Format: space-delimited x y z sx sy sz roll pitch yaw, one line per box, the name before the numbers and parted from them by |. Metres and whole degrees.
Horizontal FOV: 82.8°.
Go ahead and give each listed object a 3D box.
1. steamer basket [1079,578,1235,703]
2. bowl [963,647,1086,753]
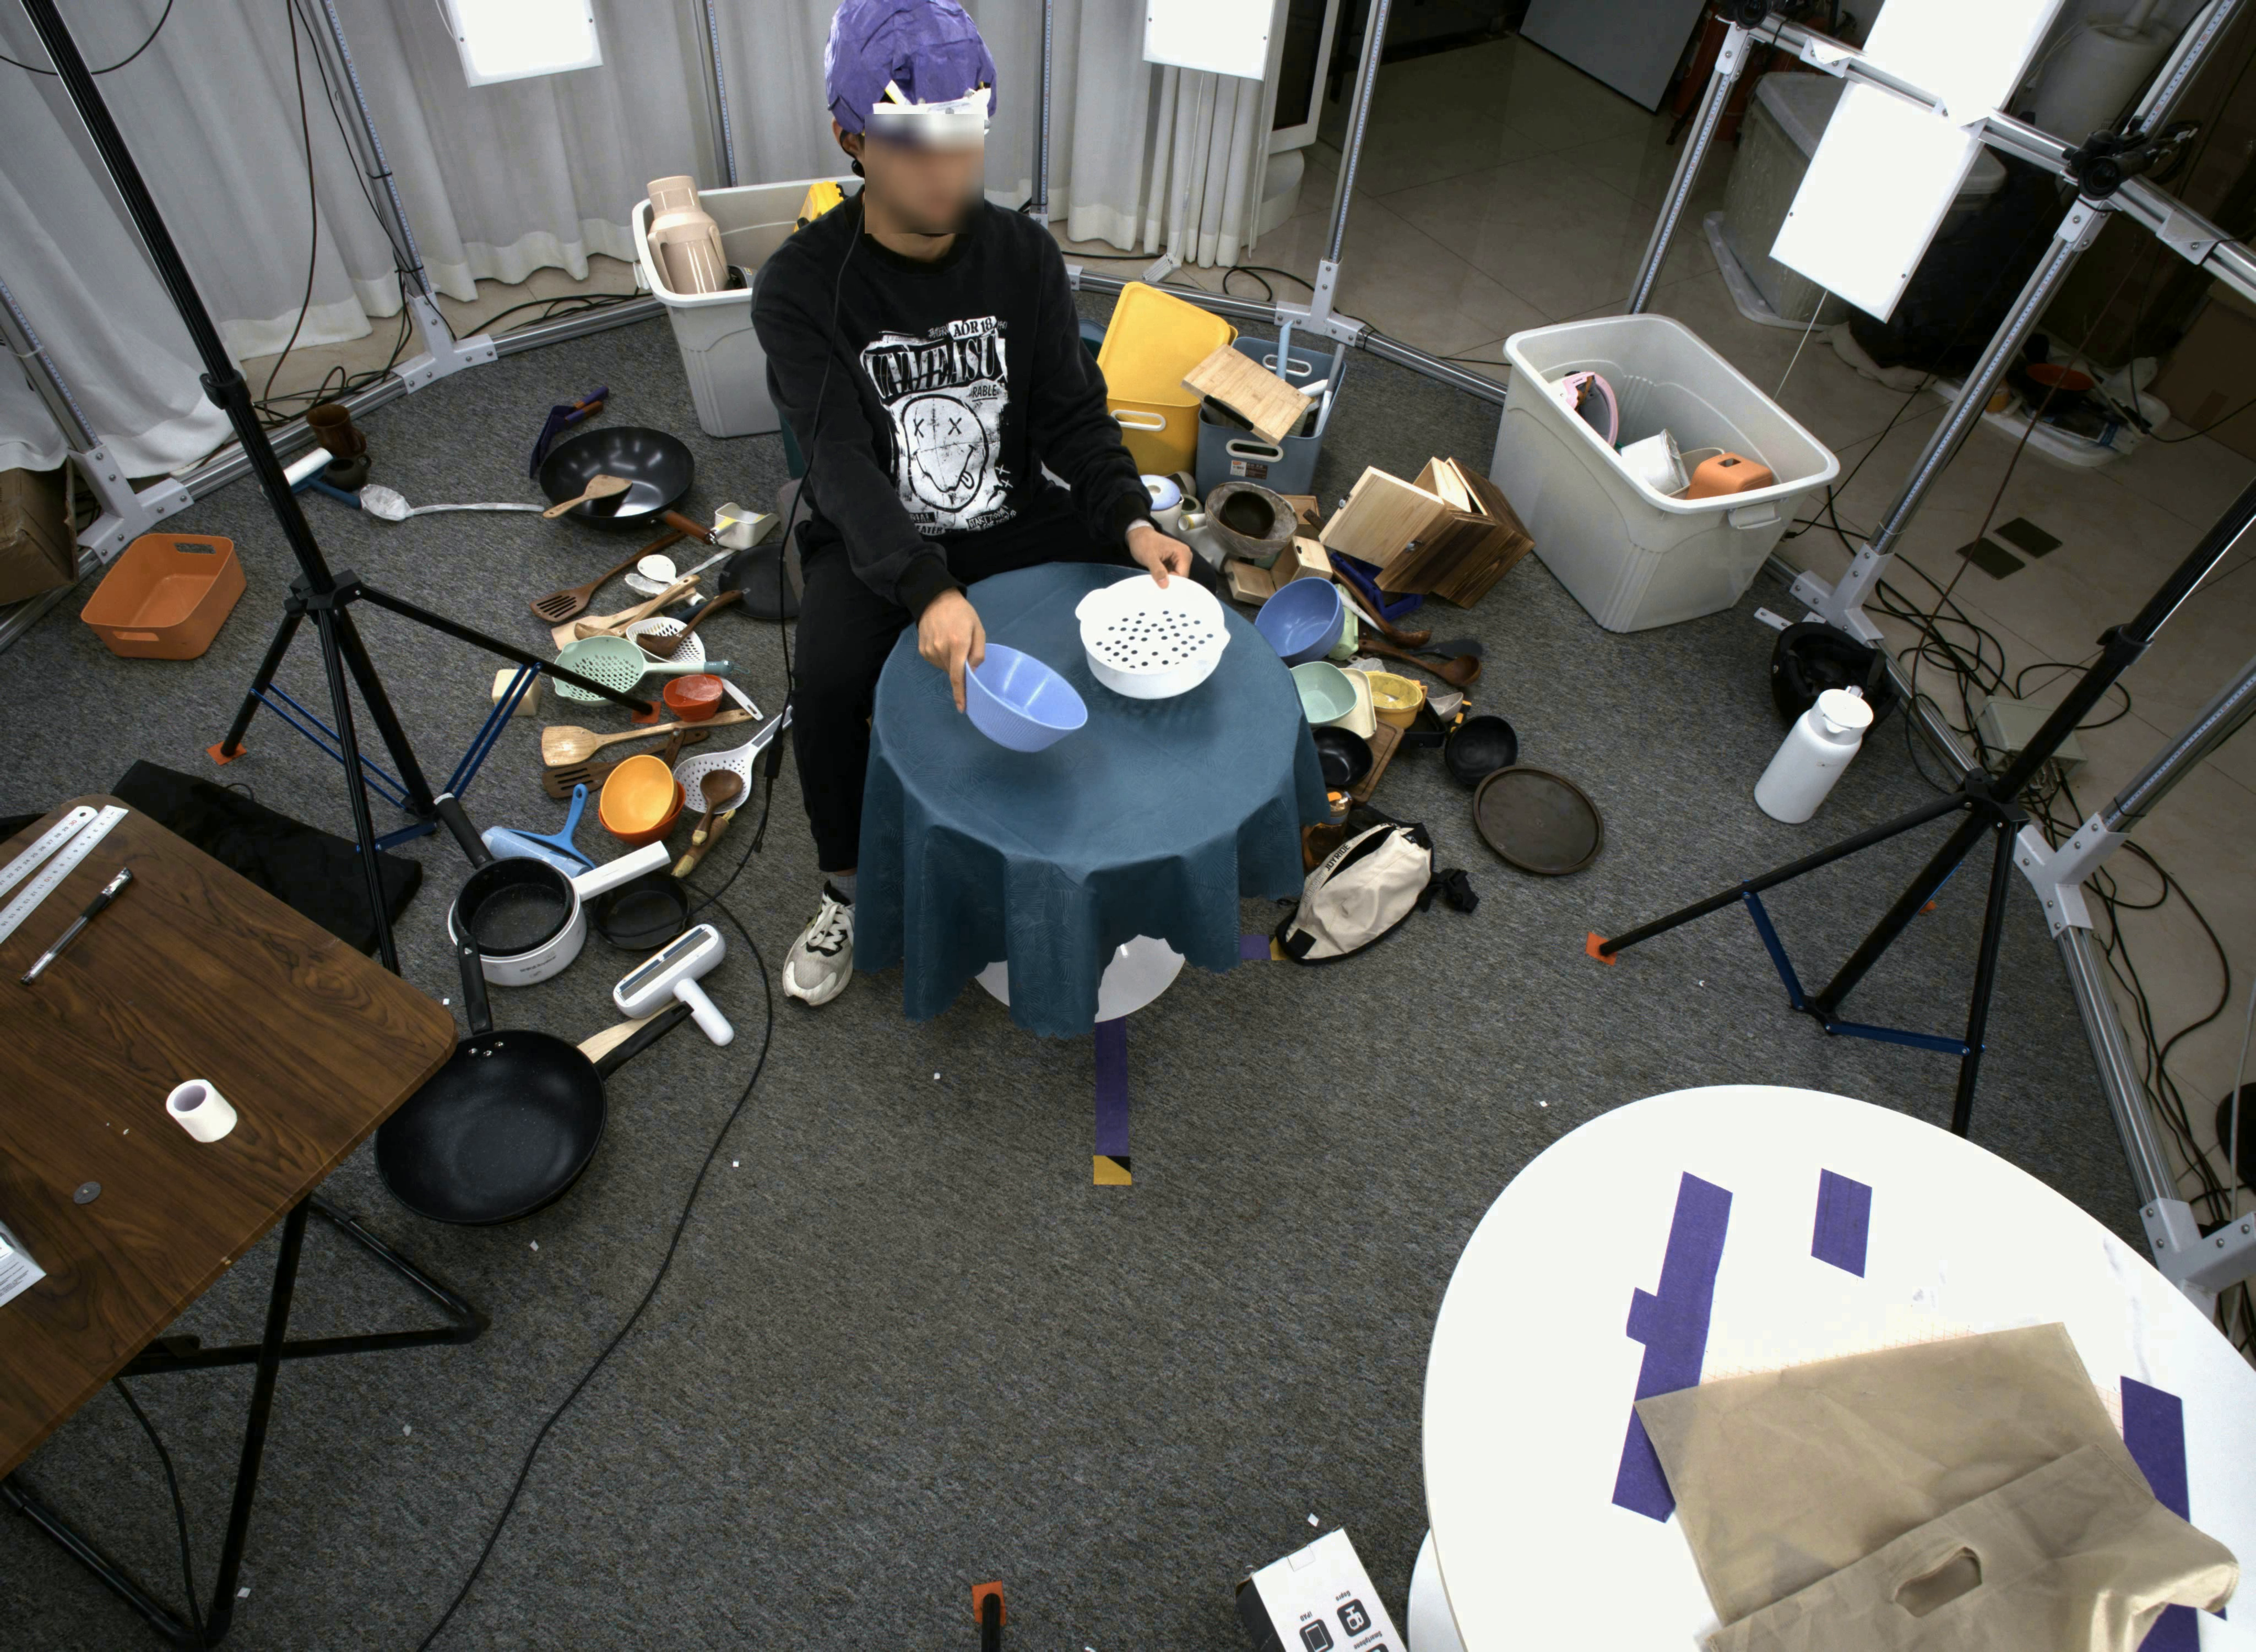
steamer basket | 0.041 -0.264 1.832 0.232 0.067 0.205 21 55 21
bowl | -0.145 -0.155 1.663 0.175 0.069 0.179 27 25 -14
